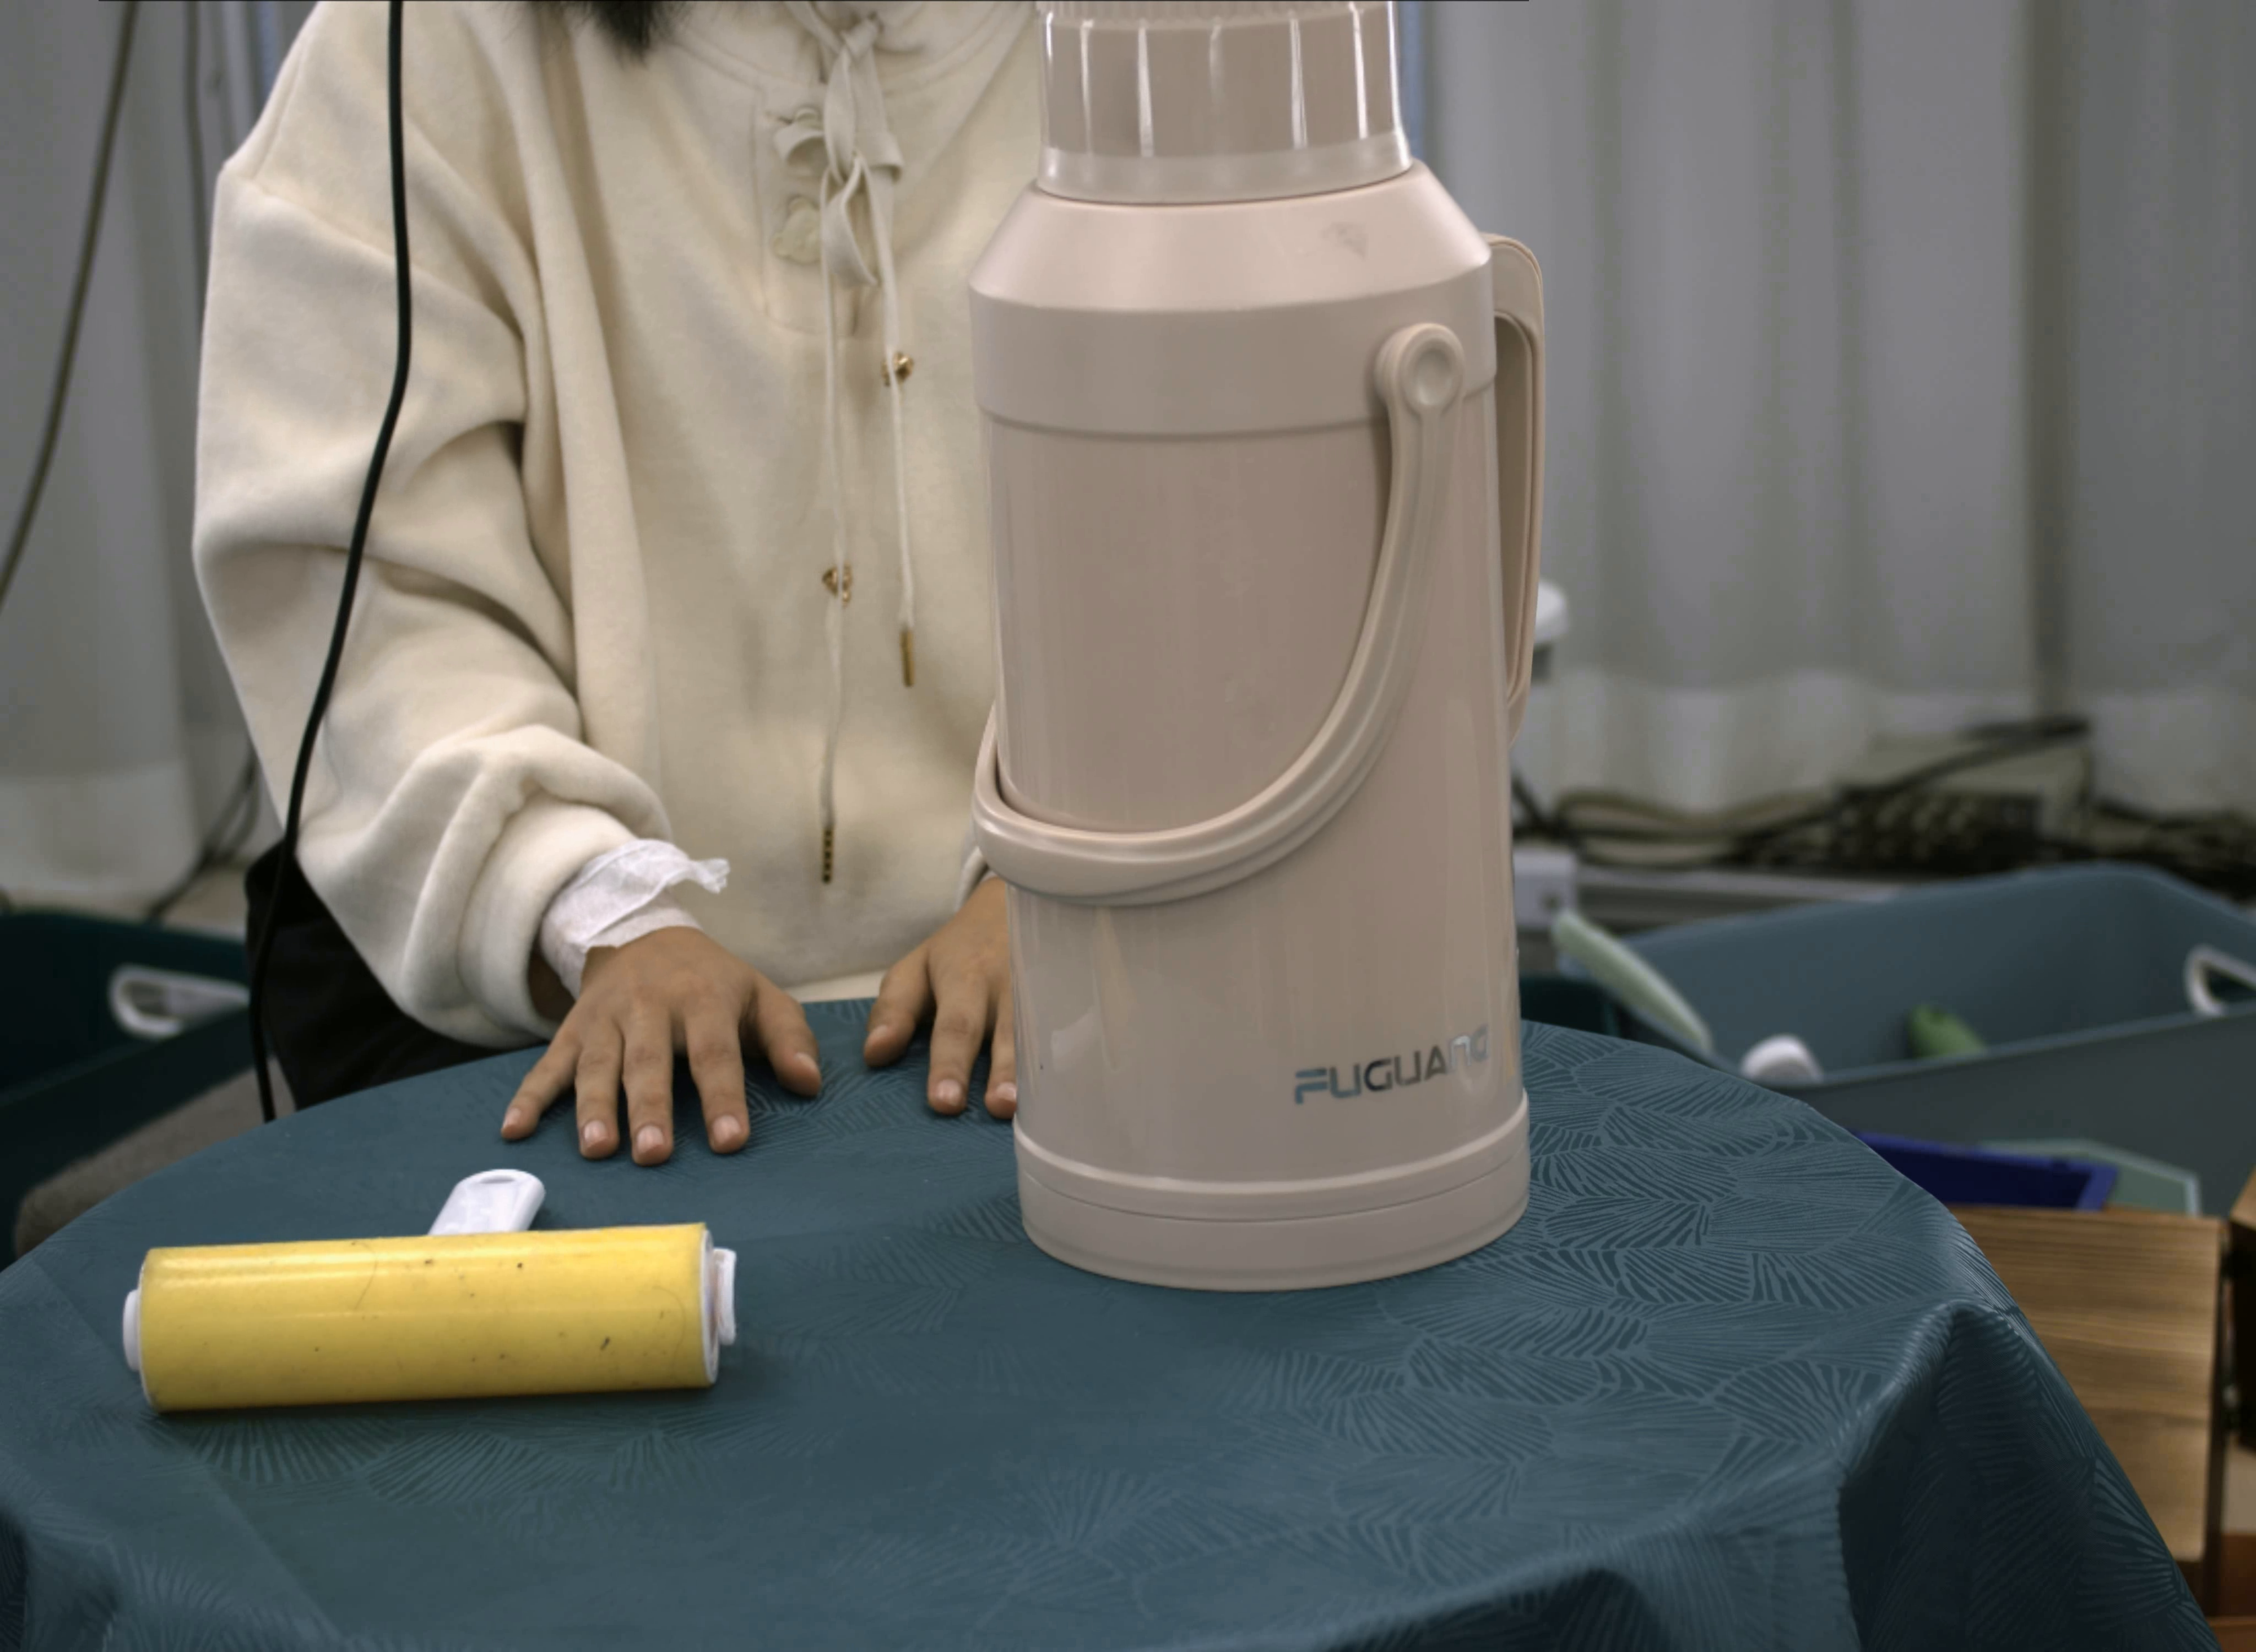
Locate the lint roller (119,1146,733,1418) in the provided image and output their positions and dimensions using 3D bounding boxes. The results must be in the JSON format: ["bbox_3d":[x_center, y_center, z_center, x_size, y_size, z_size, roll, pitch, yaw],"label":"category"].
[{"bbox_3d":[-0.201,0.120,1.631,0.174,0.051,0.194,-3,20,0],"label":"lint roller"}]

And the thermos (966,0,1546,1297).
[{"bbox_3d":[0.046,-0.075,1.654,0.206,0.405,0.176,-13,17,-38],"label":"thermos"}]
